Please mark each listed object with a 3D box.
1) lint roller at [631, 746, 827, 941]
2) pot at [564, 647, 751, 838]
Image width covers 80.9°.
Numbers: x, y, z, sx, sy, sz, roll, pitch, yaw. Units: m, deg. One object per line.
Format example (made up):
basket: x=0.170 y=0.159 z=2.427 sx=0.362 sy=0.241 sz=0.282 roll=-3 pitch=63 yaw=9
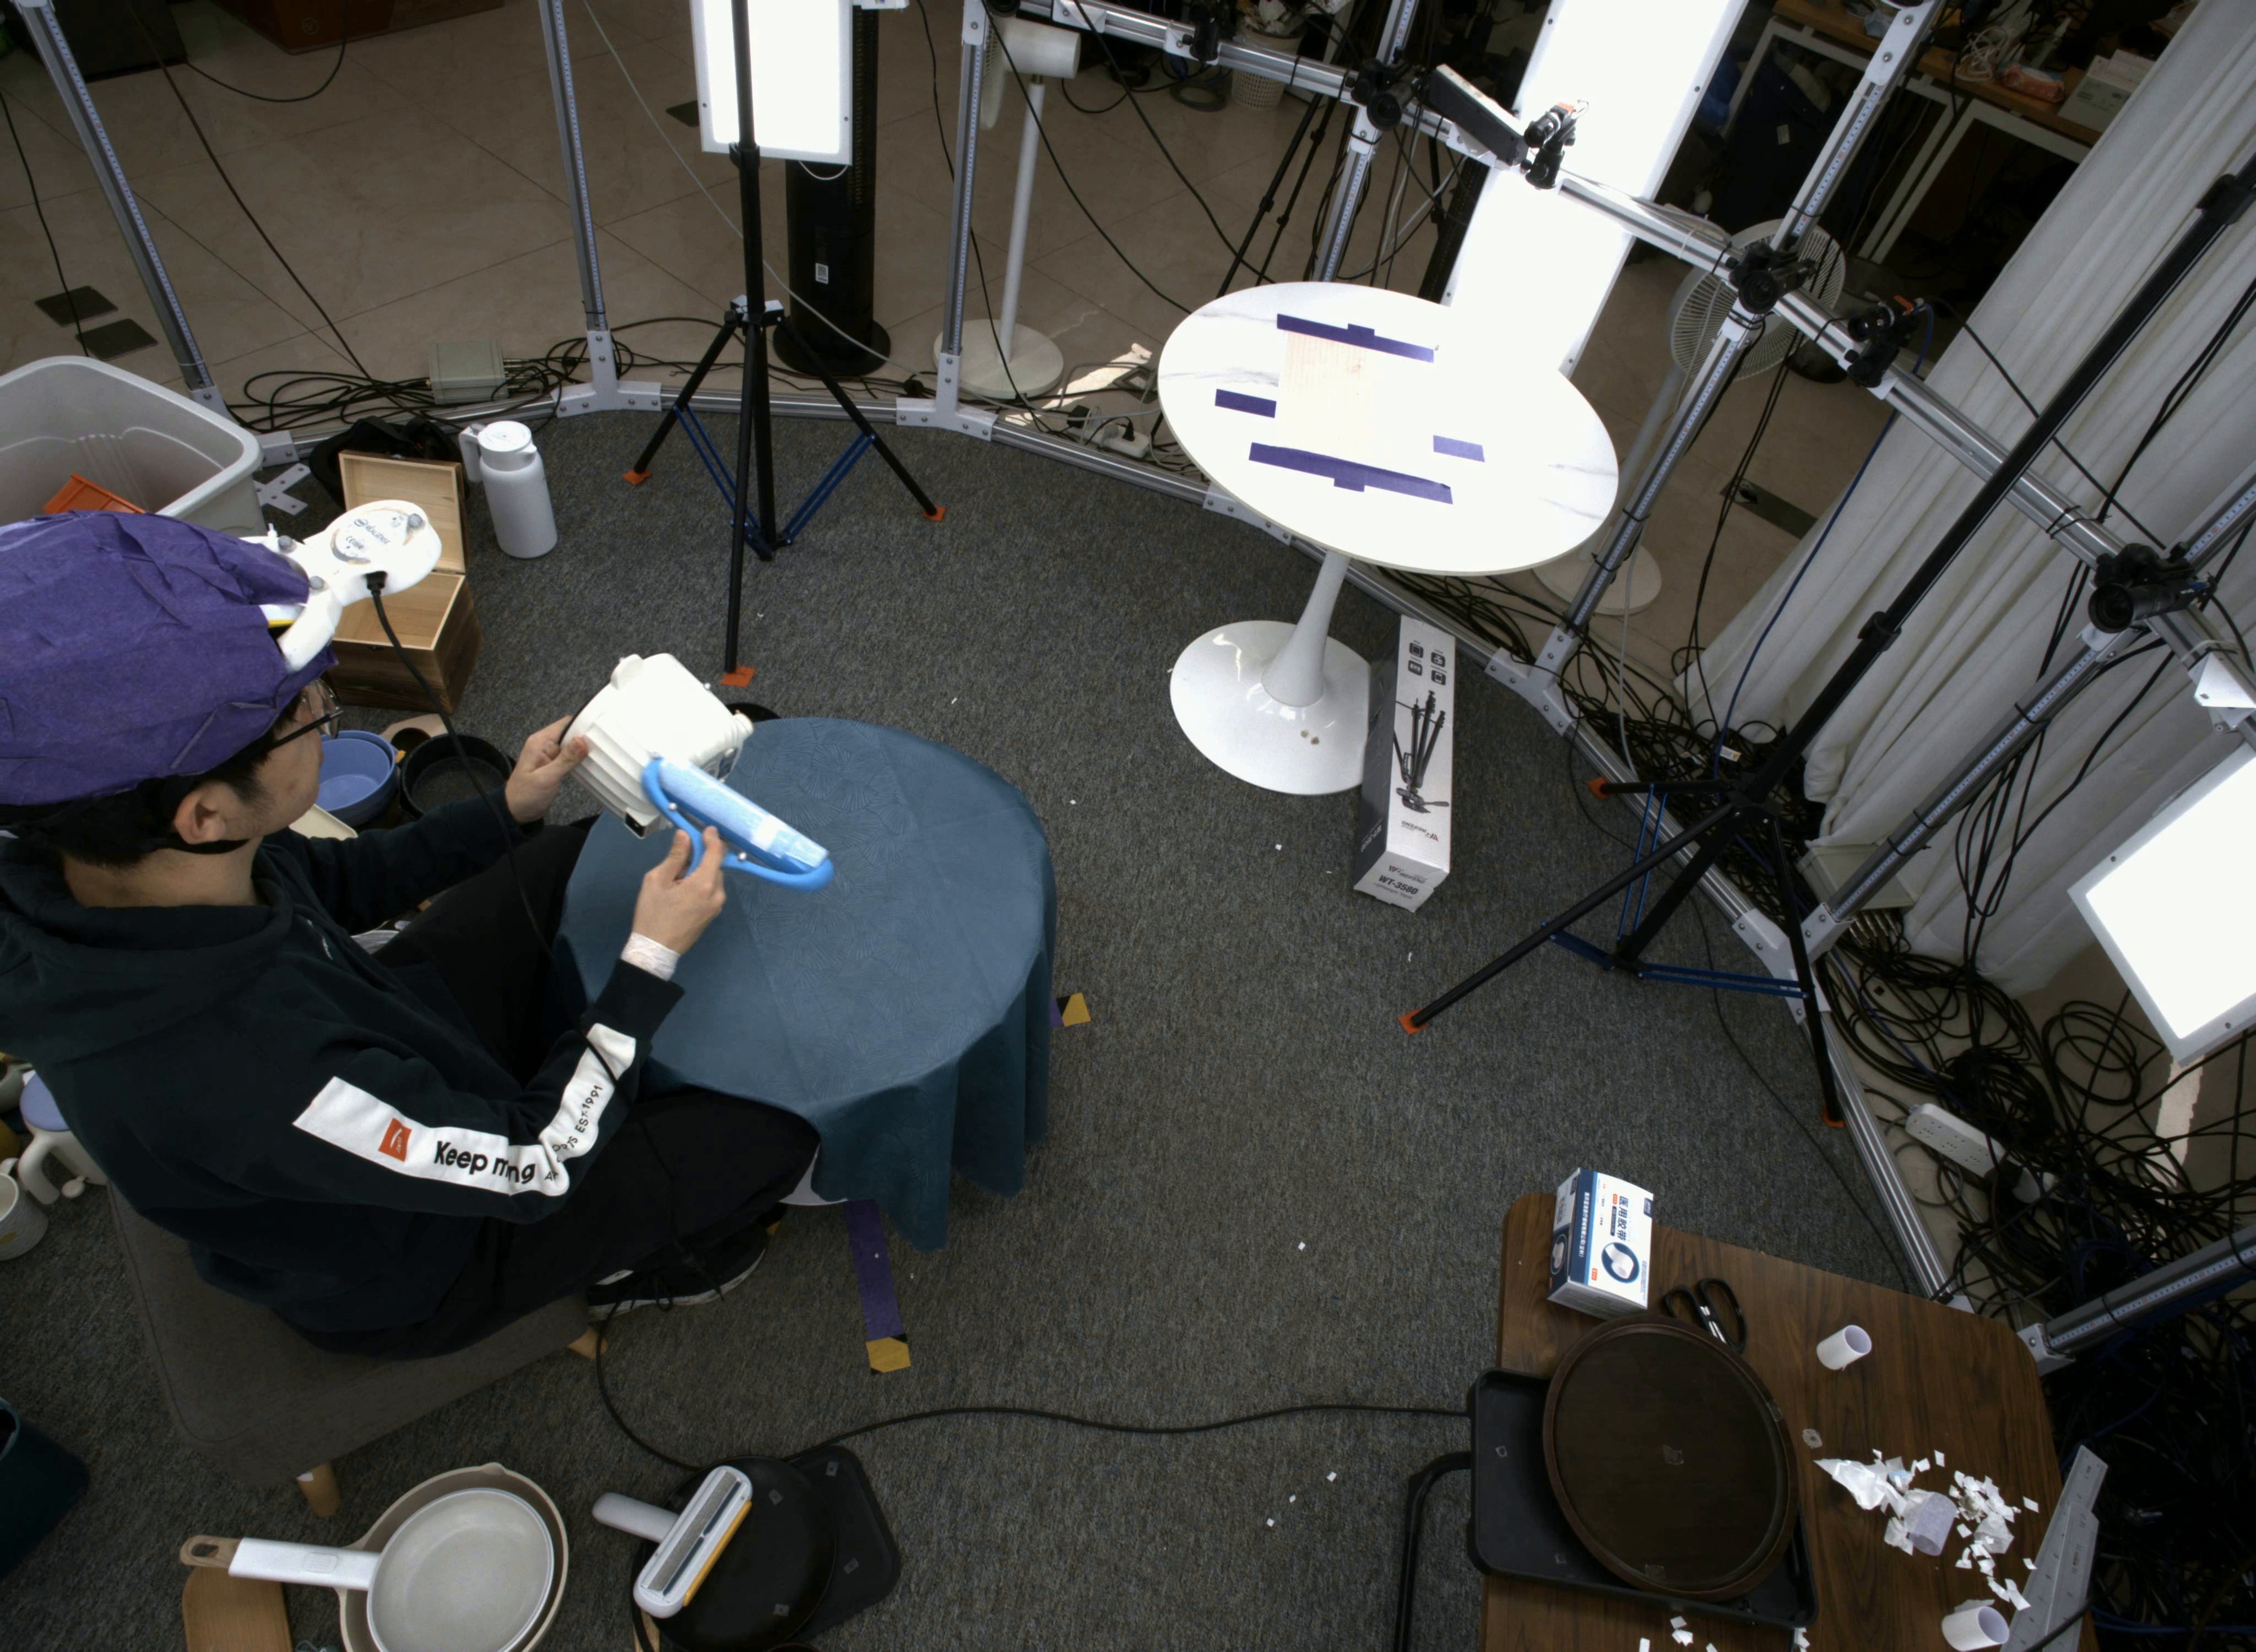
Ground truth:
lint roller: x=-0.445 y=0.034 z=1.351 sx=0.232 sy=0.067 sz=0.179 roll=30 pitch=60 yaw=-15
pot: x=-0.538 y=-0.094 z=1.470 sx=0.143 sy=0.240 sz=0.190 roll=40 pitch=54 yaw=-3
